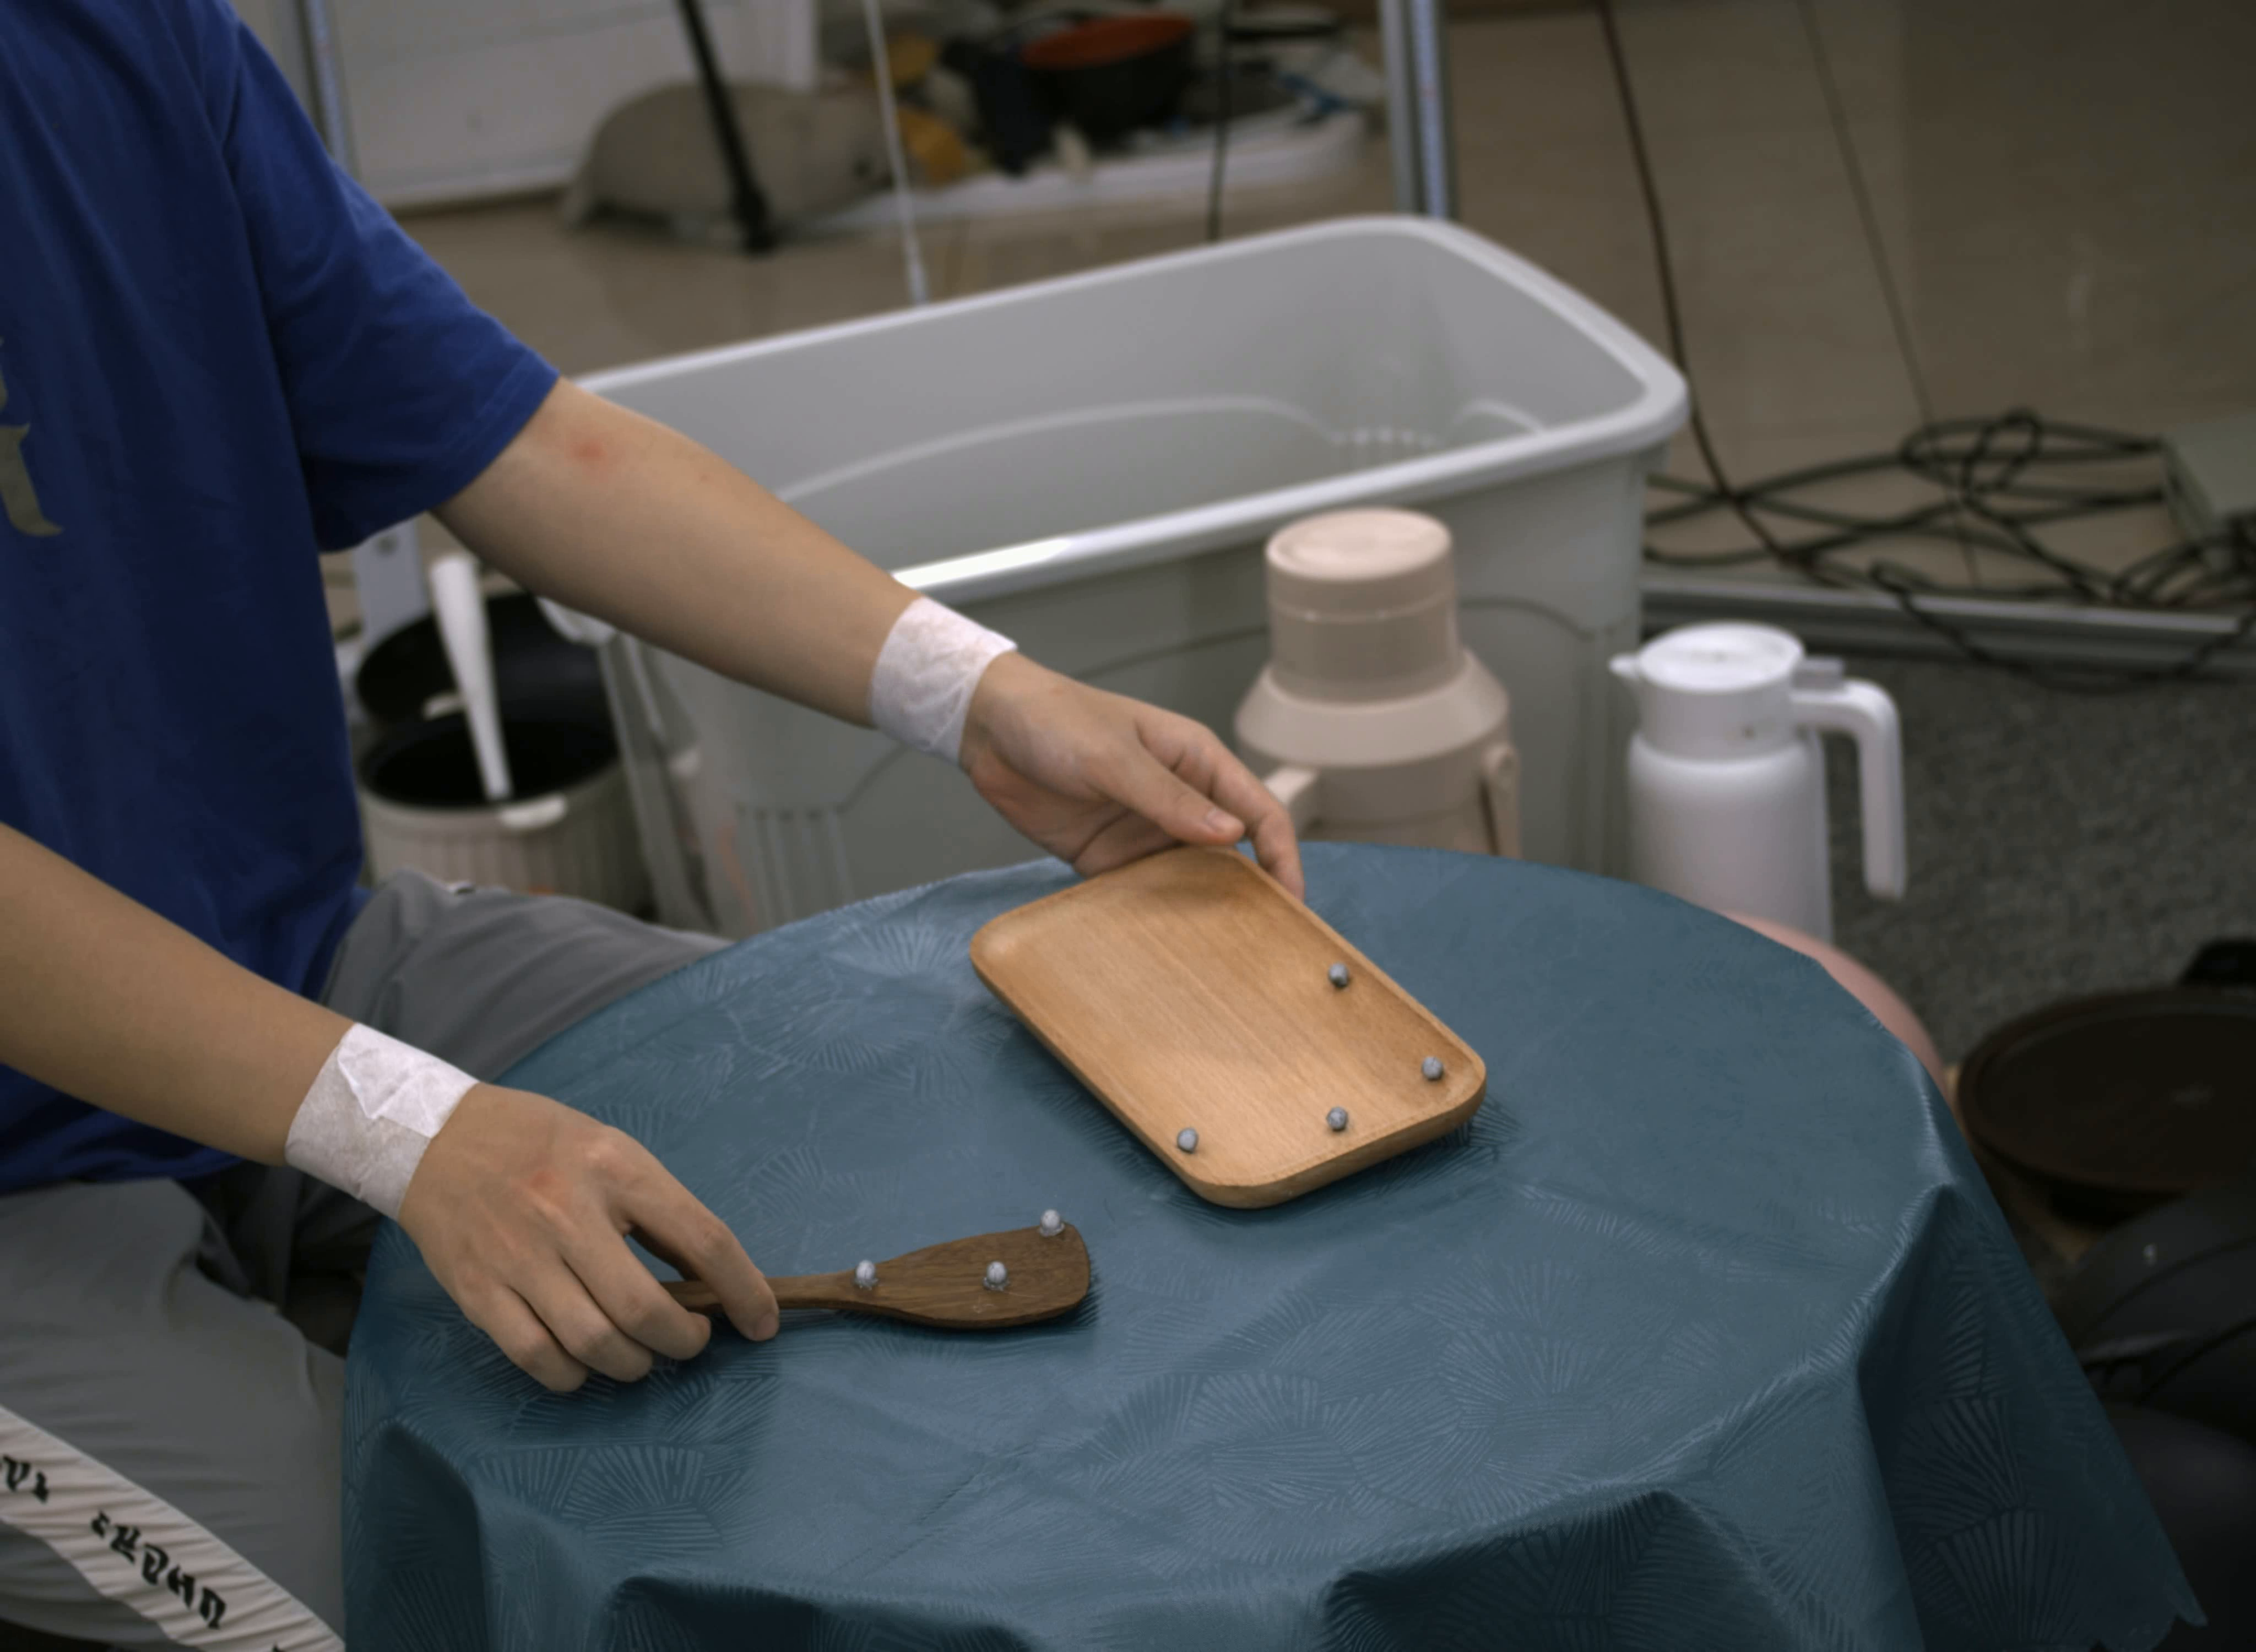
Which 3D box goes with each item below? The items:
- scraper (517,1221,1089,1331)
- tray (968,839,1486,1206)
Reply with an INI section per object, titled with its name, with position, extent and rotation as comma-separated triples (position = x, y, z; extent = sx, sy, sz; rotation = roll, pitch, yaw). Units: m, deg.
[scraper]
position = -0.119, 0.171, 2.086
extent = 0.211, 0.011, 0.075
rotation = -4, 20, -2
[tray]
position = 0.036, 0.075, 2.229
extent = 0.130, 0.023, 0.247
rotation = -19, 30, -18
